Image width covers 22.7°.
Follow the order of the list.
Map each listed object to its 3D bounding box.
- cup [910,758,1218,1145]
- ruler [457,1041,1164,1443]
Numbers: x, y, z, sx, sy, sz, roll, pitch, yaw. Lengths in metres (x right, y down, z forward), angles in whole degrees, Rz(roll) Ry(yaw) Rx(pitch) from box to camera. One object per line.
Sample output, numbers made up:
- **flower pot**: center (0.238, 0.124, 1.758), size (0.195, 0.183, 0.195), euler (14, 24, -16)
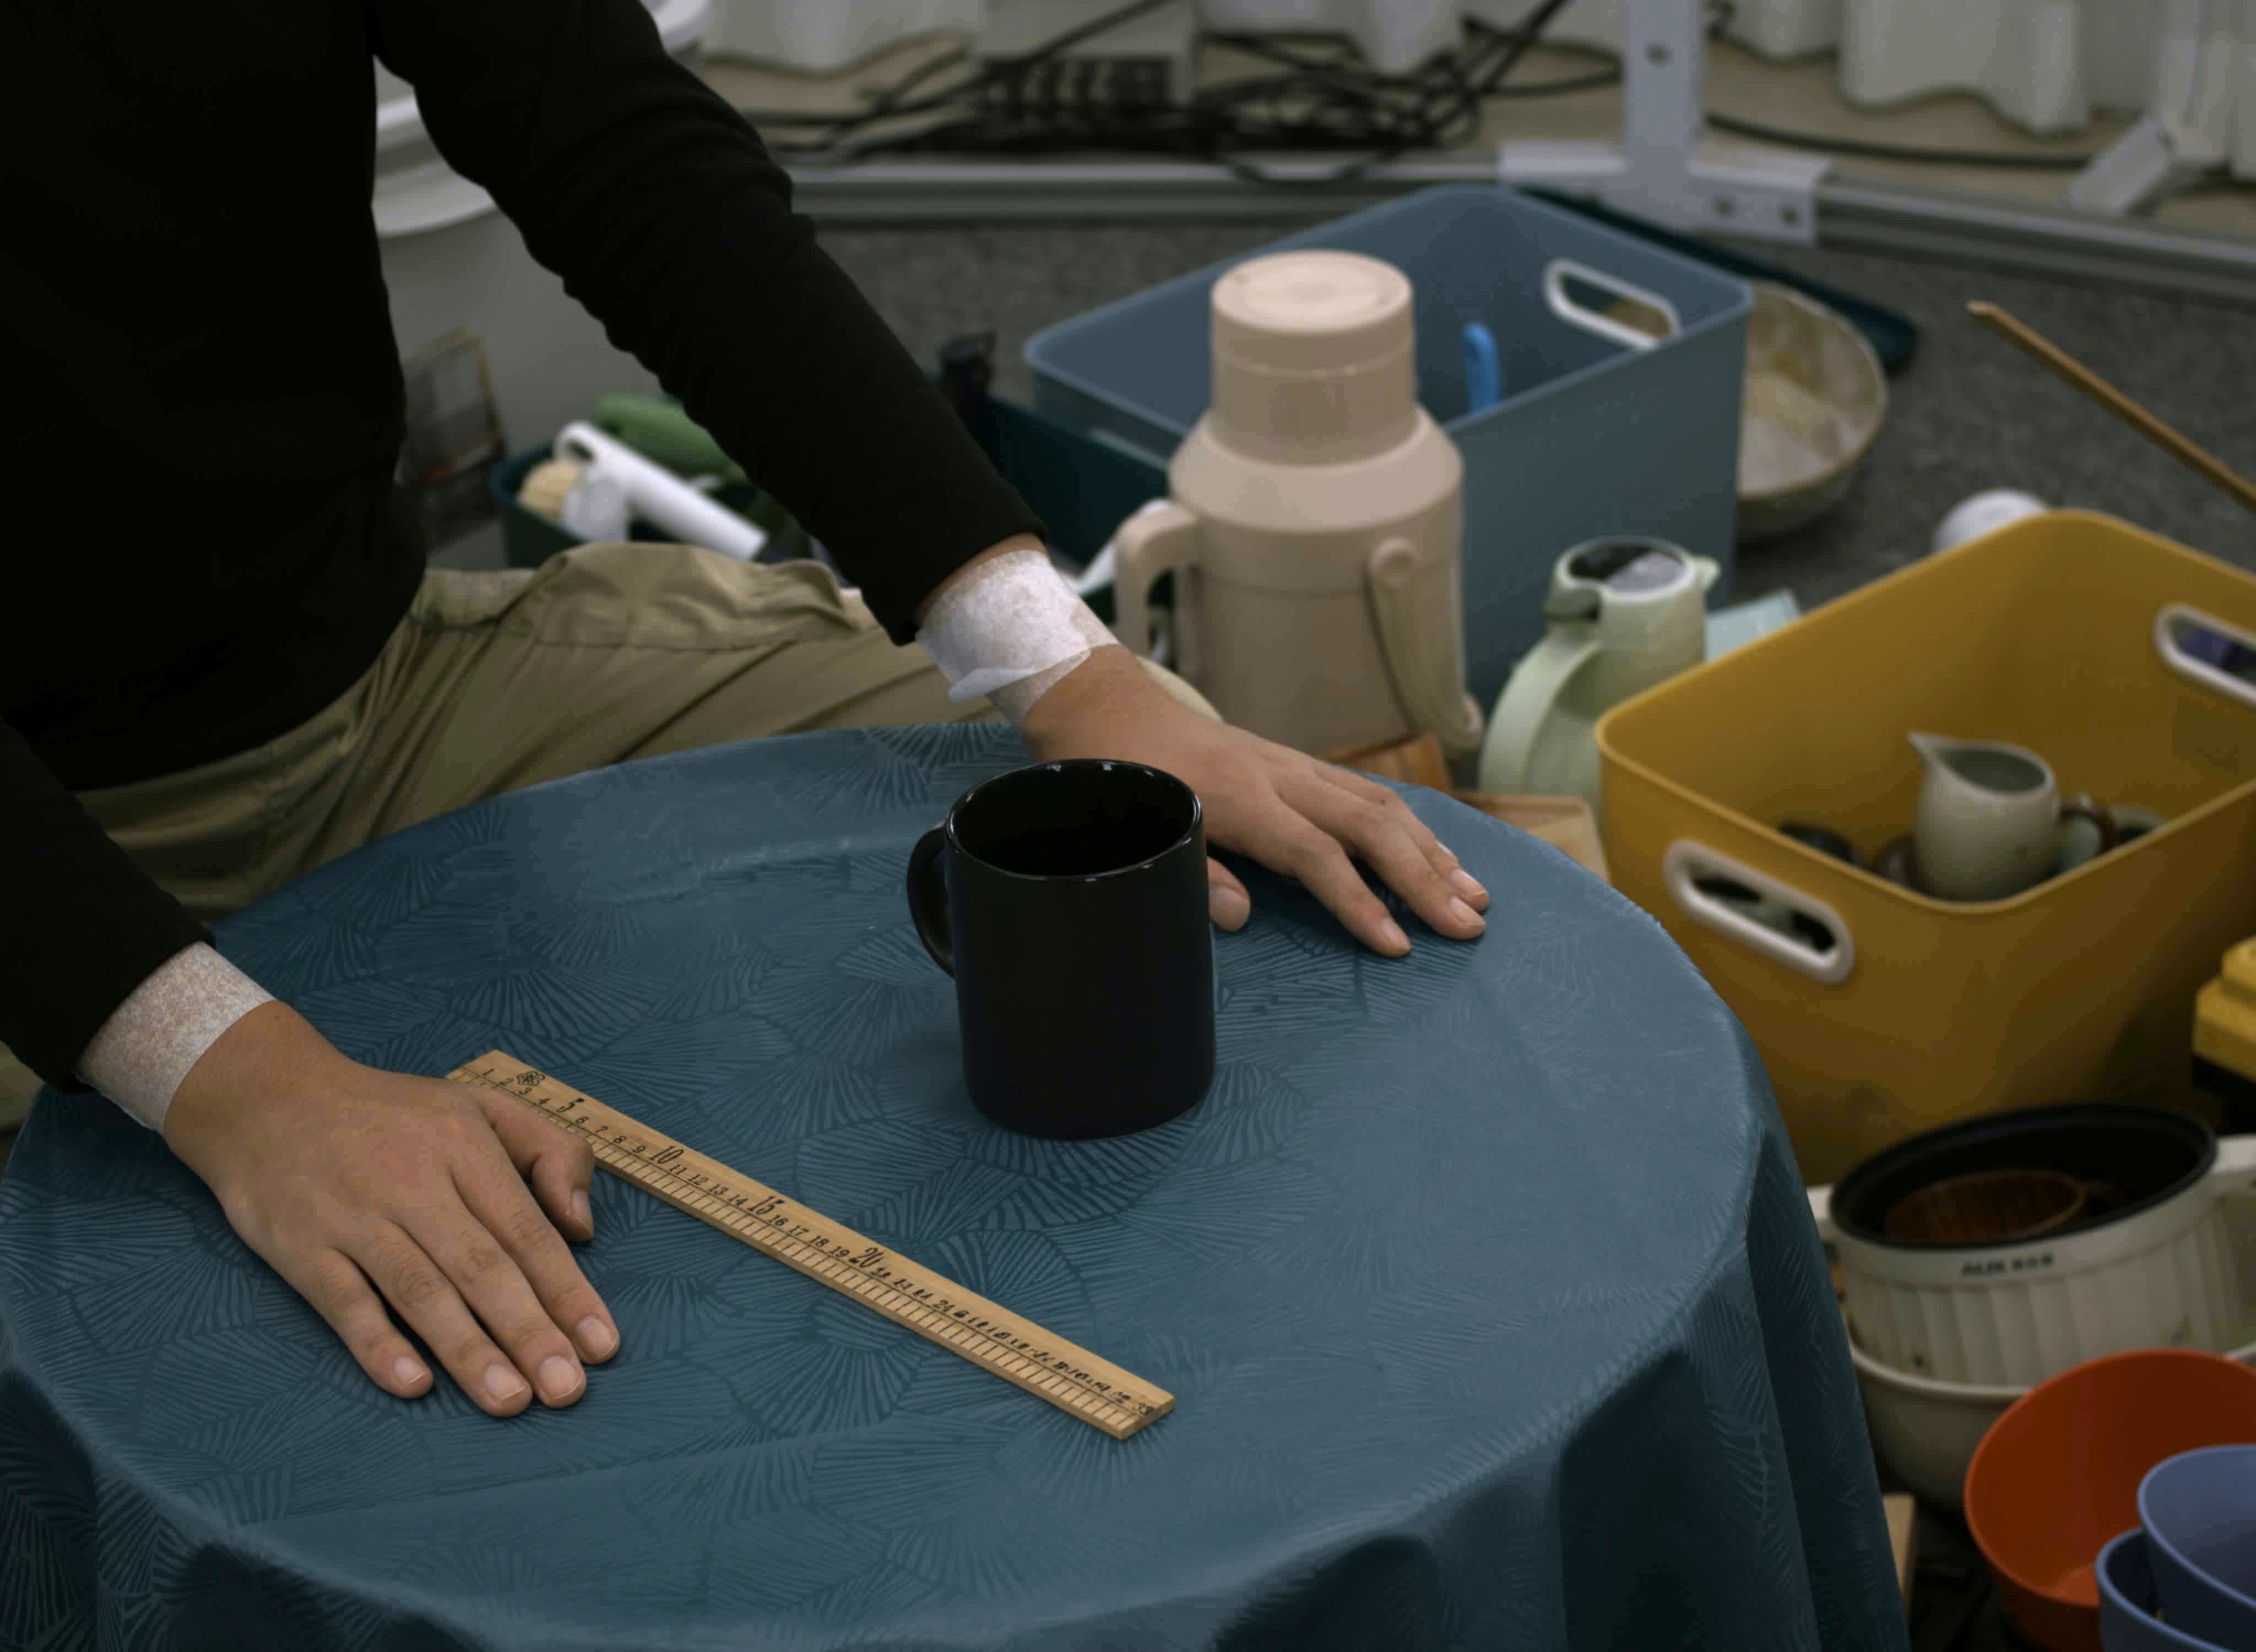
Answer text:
- **cup**: center (-0.028, 0.037, 1.918), size (0.123, 0.104, 0.090), euler (21, 37, 40)
- **ruler**: center (-0.111, 0.131, 1.844), size (0.028, 0.022, 0.331), euler (-20, 32, -39)
